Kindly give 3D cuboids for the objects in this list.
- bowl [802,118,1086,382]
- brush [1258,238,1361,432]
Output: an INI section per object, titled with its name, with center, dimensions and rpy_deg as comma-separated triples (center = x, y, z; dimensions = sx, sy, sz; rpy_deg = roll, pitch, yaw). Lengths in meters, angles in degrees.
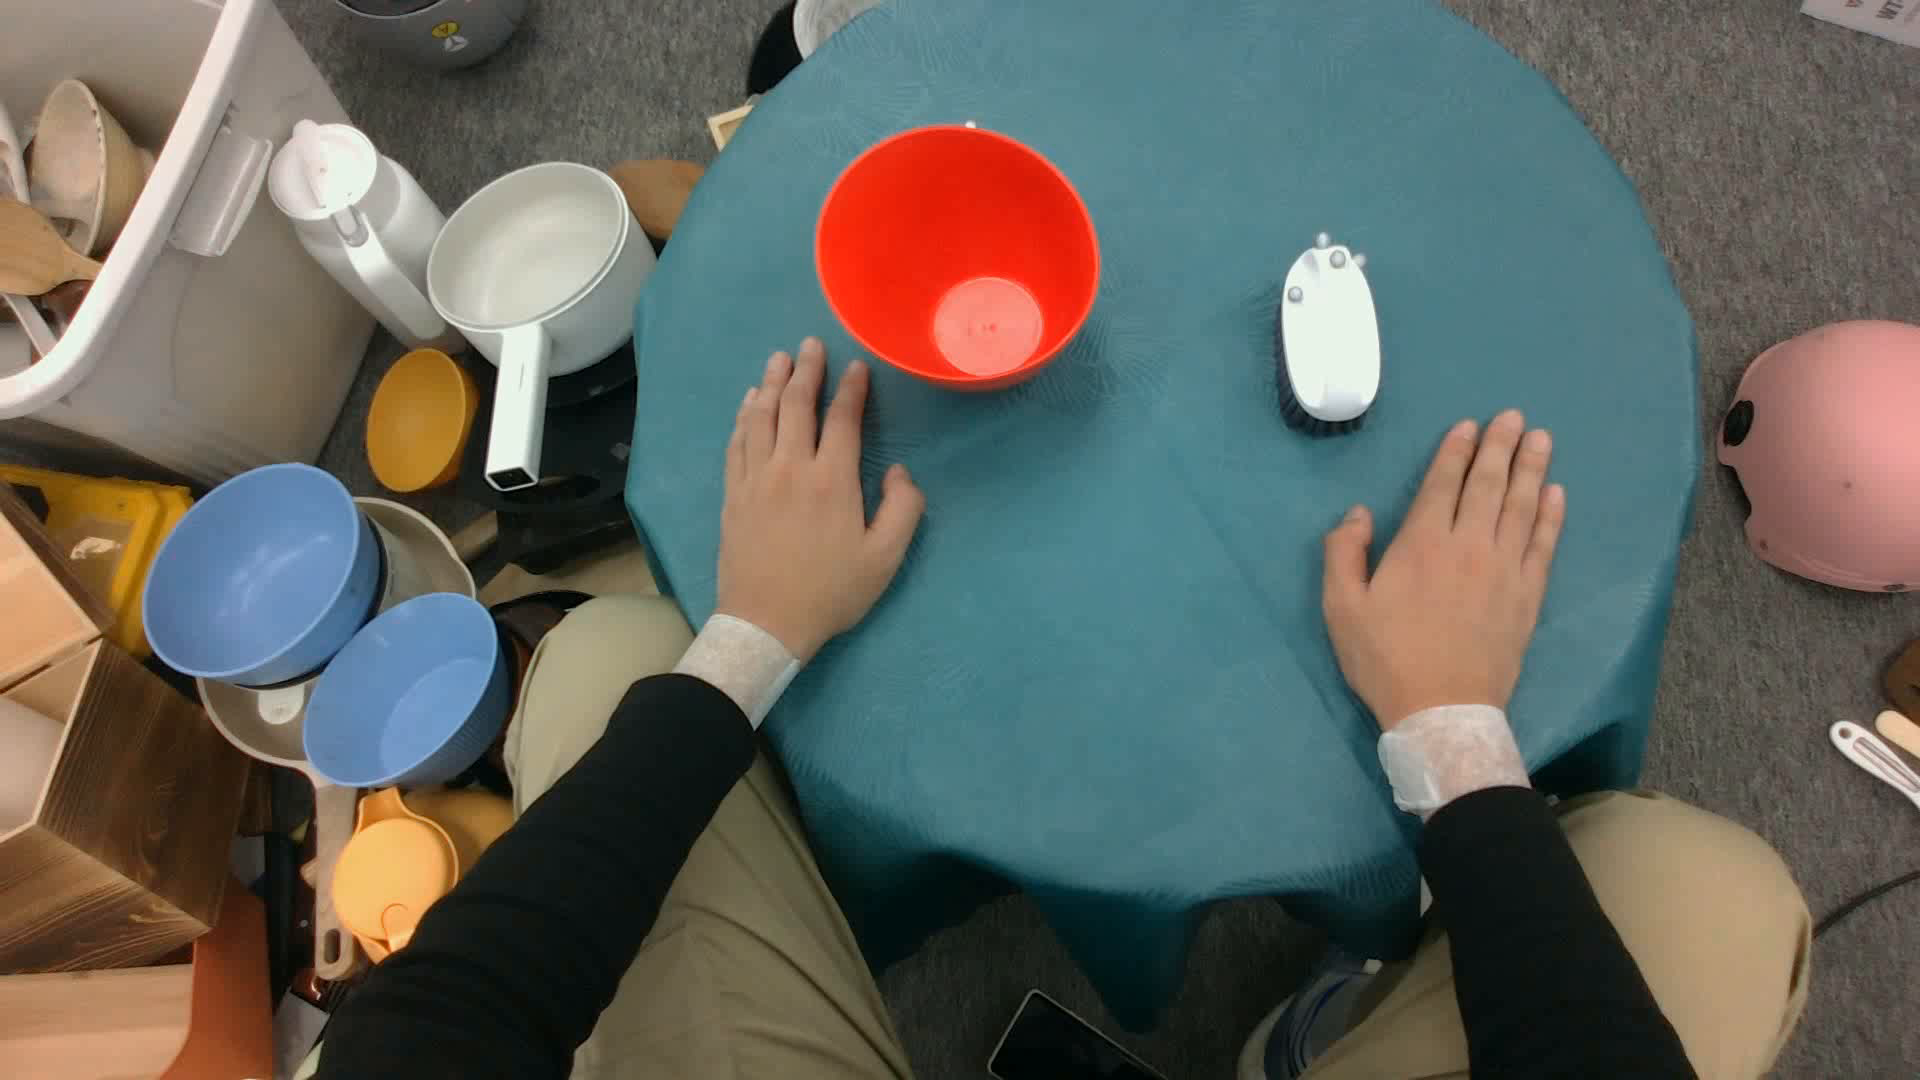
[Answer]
[bowl]
center = -0.005, -0.145, 0.759
dimensions = 0.148, 0.104, 0.148
rpy_deg = -1, 73, 3
[brush]
center = 0.193, -0.118, 0.750
dimensions = 0.050, 0.072, 0.099
rpy_deg = 0, 72, 3
